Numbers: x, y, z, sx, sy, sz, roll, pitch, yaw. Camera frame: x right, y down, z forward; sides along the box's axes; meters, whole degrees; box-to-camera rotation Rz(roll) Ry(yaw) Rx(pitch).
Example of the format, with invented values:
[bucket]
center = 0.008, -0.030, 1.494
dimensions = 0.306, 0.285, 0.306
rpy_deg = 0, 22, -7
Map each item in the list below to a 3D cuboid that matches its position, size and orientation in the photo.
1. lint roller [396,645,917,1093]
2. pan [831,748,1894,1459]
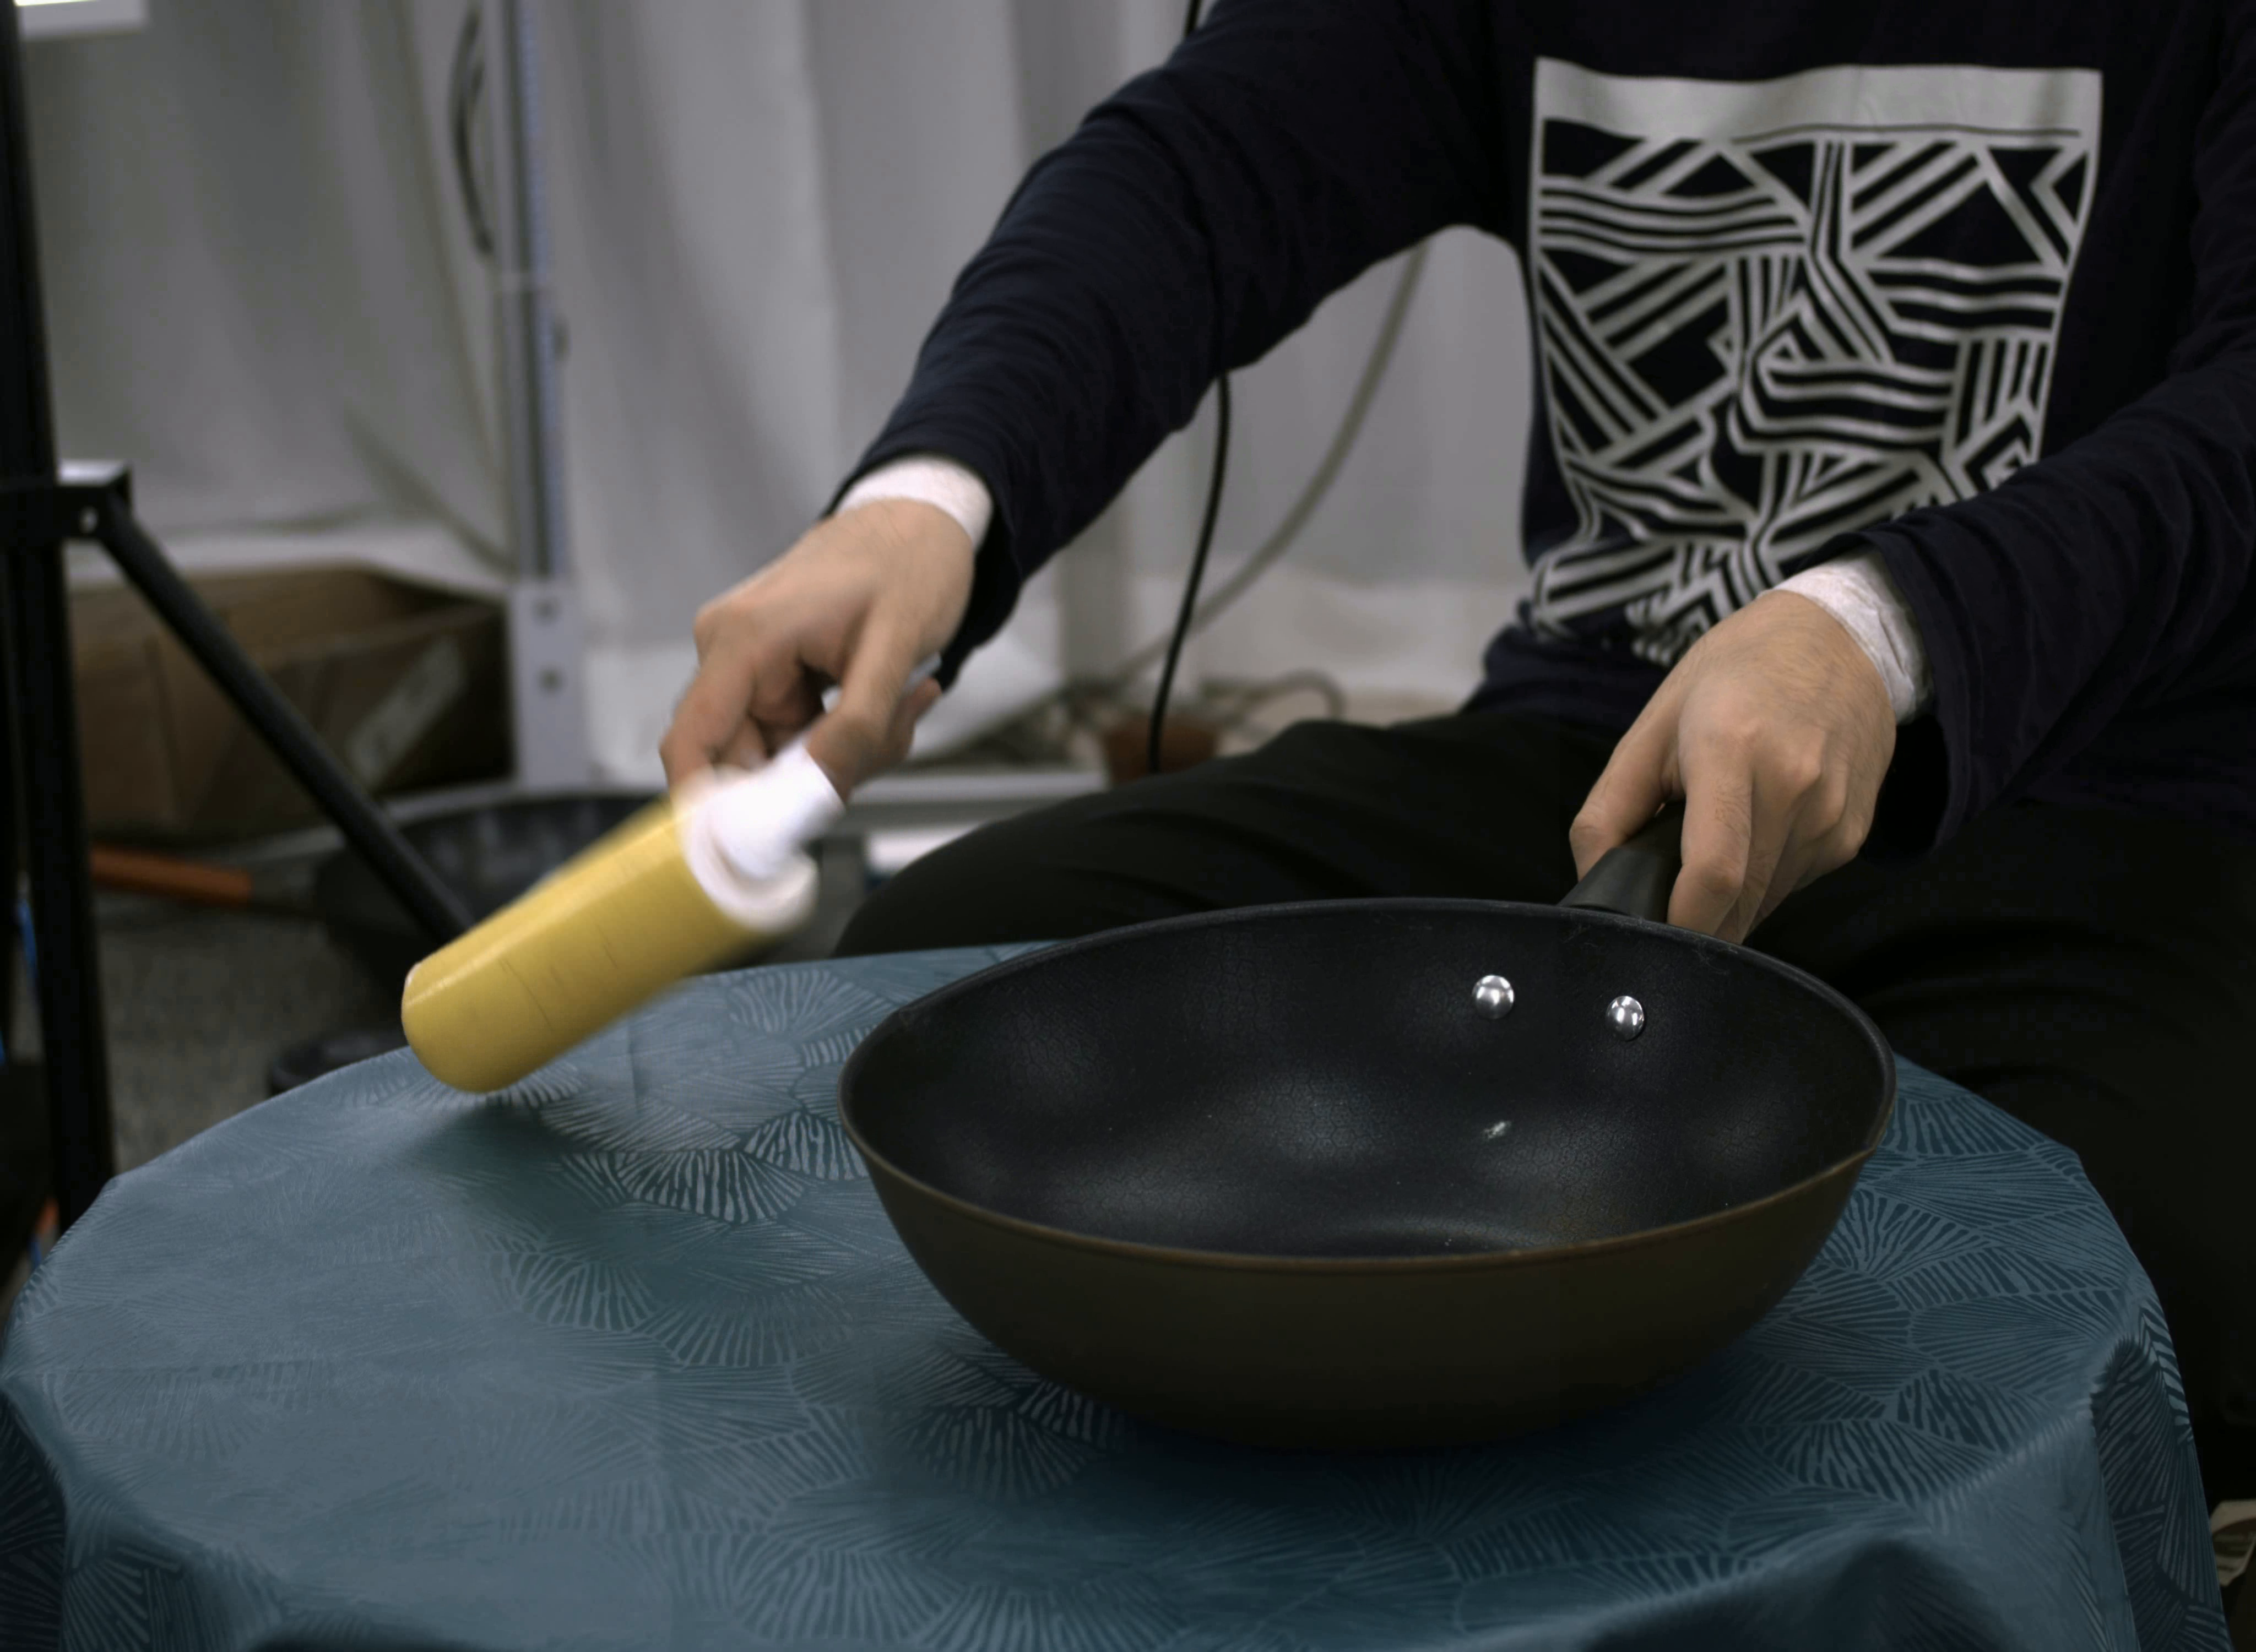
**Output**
[lint roller]
center = -0.125, -0.007, 1.640
dimensions = 0.177, 0.051, 0.191
rpy_deg = -25, 24, 45
[pan]
center = 0.105, 0.075, 1.494
dimensions = 0.293, 0.087, 0.456
rpy_deg = 7, 20, 28
